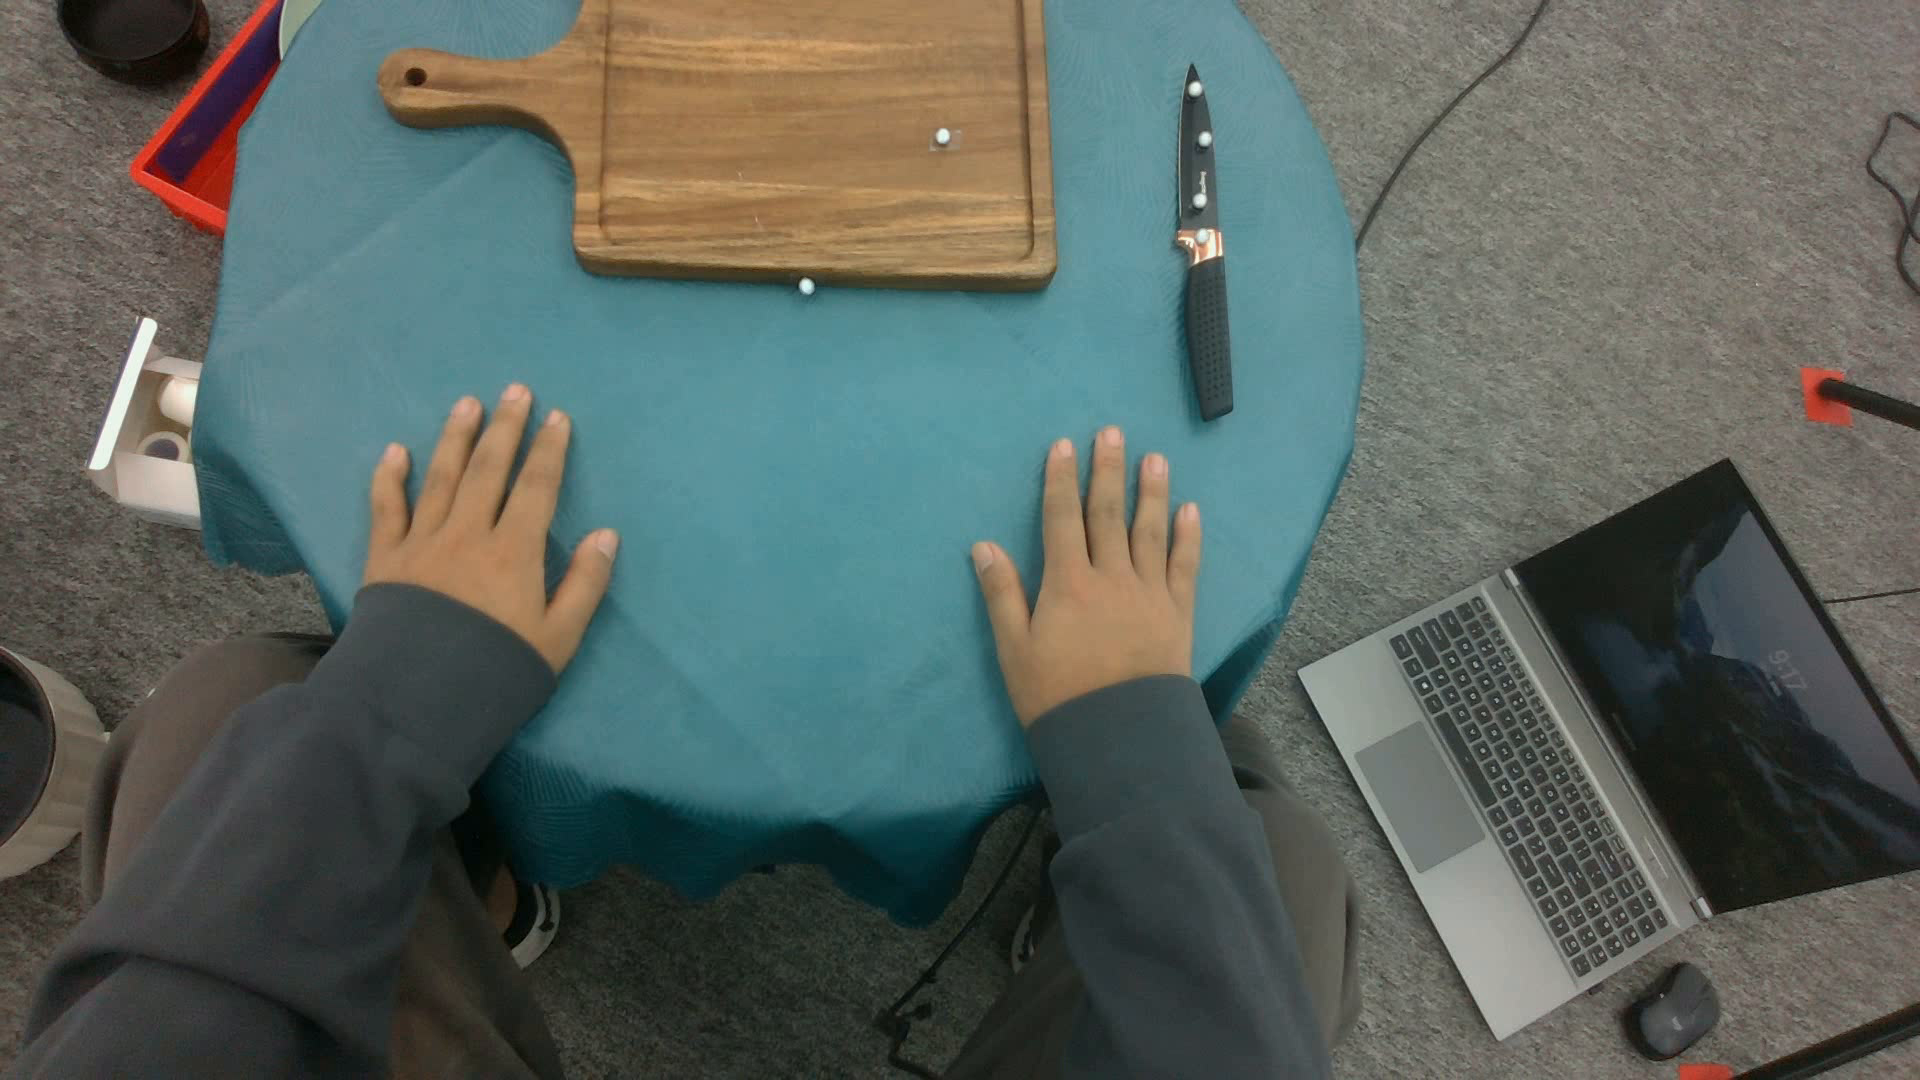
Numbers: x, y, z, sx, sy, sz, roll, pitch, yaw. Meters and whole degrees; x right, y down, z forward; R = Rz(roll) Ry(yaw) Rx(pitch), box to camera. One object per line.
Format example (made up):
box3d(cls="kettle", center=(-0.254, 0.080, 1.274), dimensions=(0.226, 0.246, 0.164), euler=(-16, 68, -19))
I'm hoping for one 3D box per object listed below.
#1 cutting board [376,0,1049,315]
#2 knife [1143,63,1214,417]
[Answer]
box3d(cls="cutting board", center=(-0.134, -0.219, 0.755), dimensions=(0.352, 0.023, 0.201), euler=(-3, 73, -8))
box3d(cls="knife", center=(0.123, -0.174, 0.780), dimensions=(0.026, 0.017, 0.226), euler=(-2, 72, -3))
